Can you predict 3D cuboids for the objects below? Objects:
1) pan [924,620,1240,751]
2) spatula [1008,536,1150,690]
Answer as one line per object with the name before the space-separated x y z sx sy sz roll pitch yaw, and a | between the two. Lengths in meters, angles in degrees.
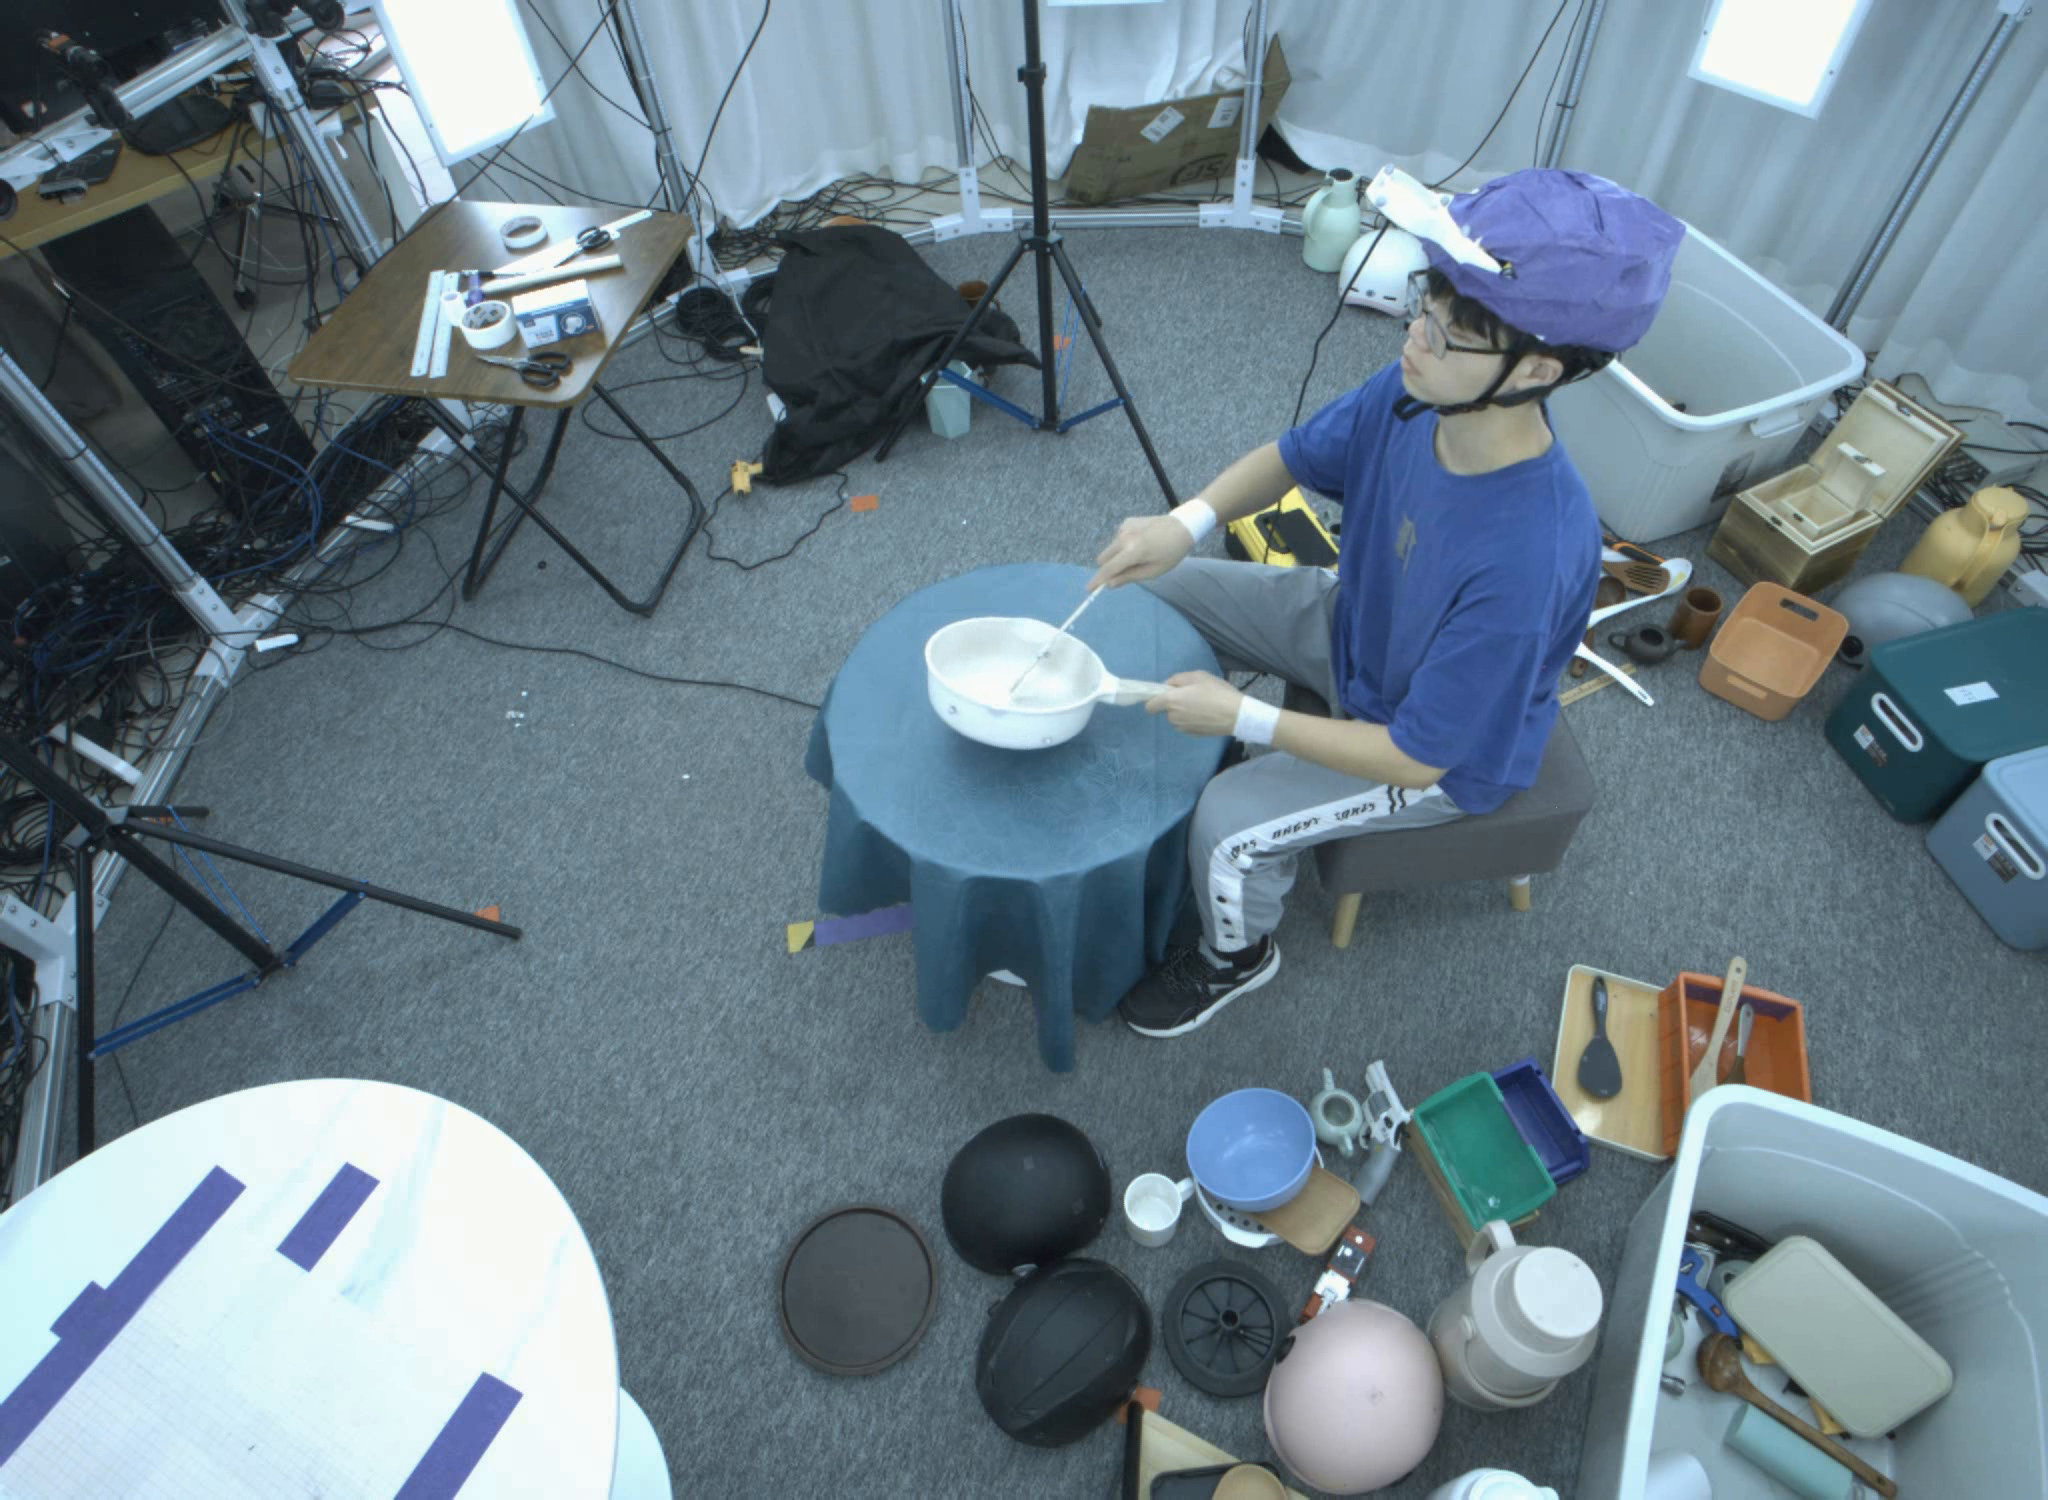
pan | 0.073 -0.072 1.696 0.434 0.102 0.262 13 32 2
spatula | 0.076 -0.195 1.722 0.011 0.072 0.293 43 86 -2
